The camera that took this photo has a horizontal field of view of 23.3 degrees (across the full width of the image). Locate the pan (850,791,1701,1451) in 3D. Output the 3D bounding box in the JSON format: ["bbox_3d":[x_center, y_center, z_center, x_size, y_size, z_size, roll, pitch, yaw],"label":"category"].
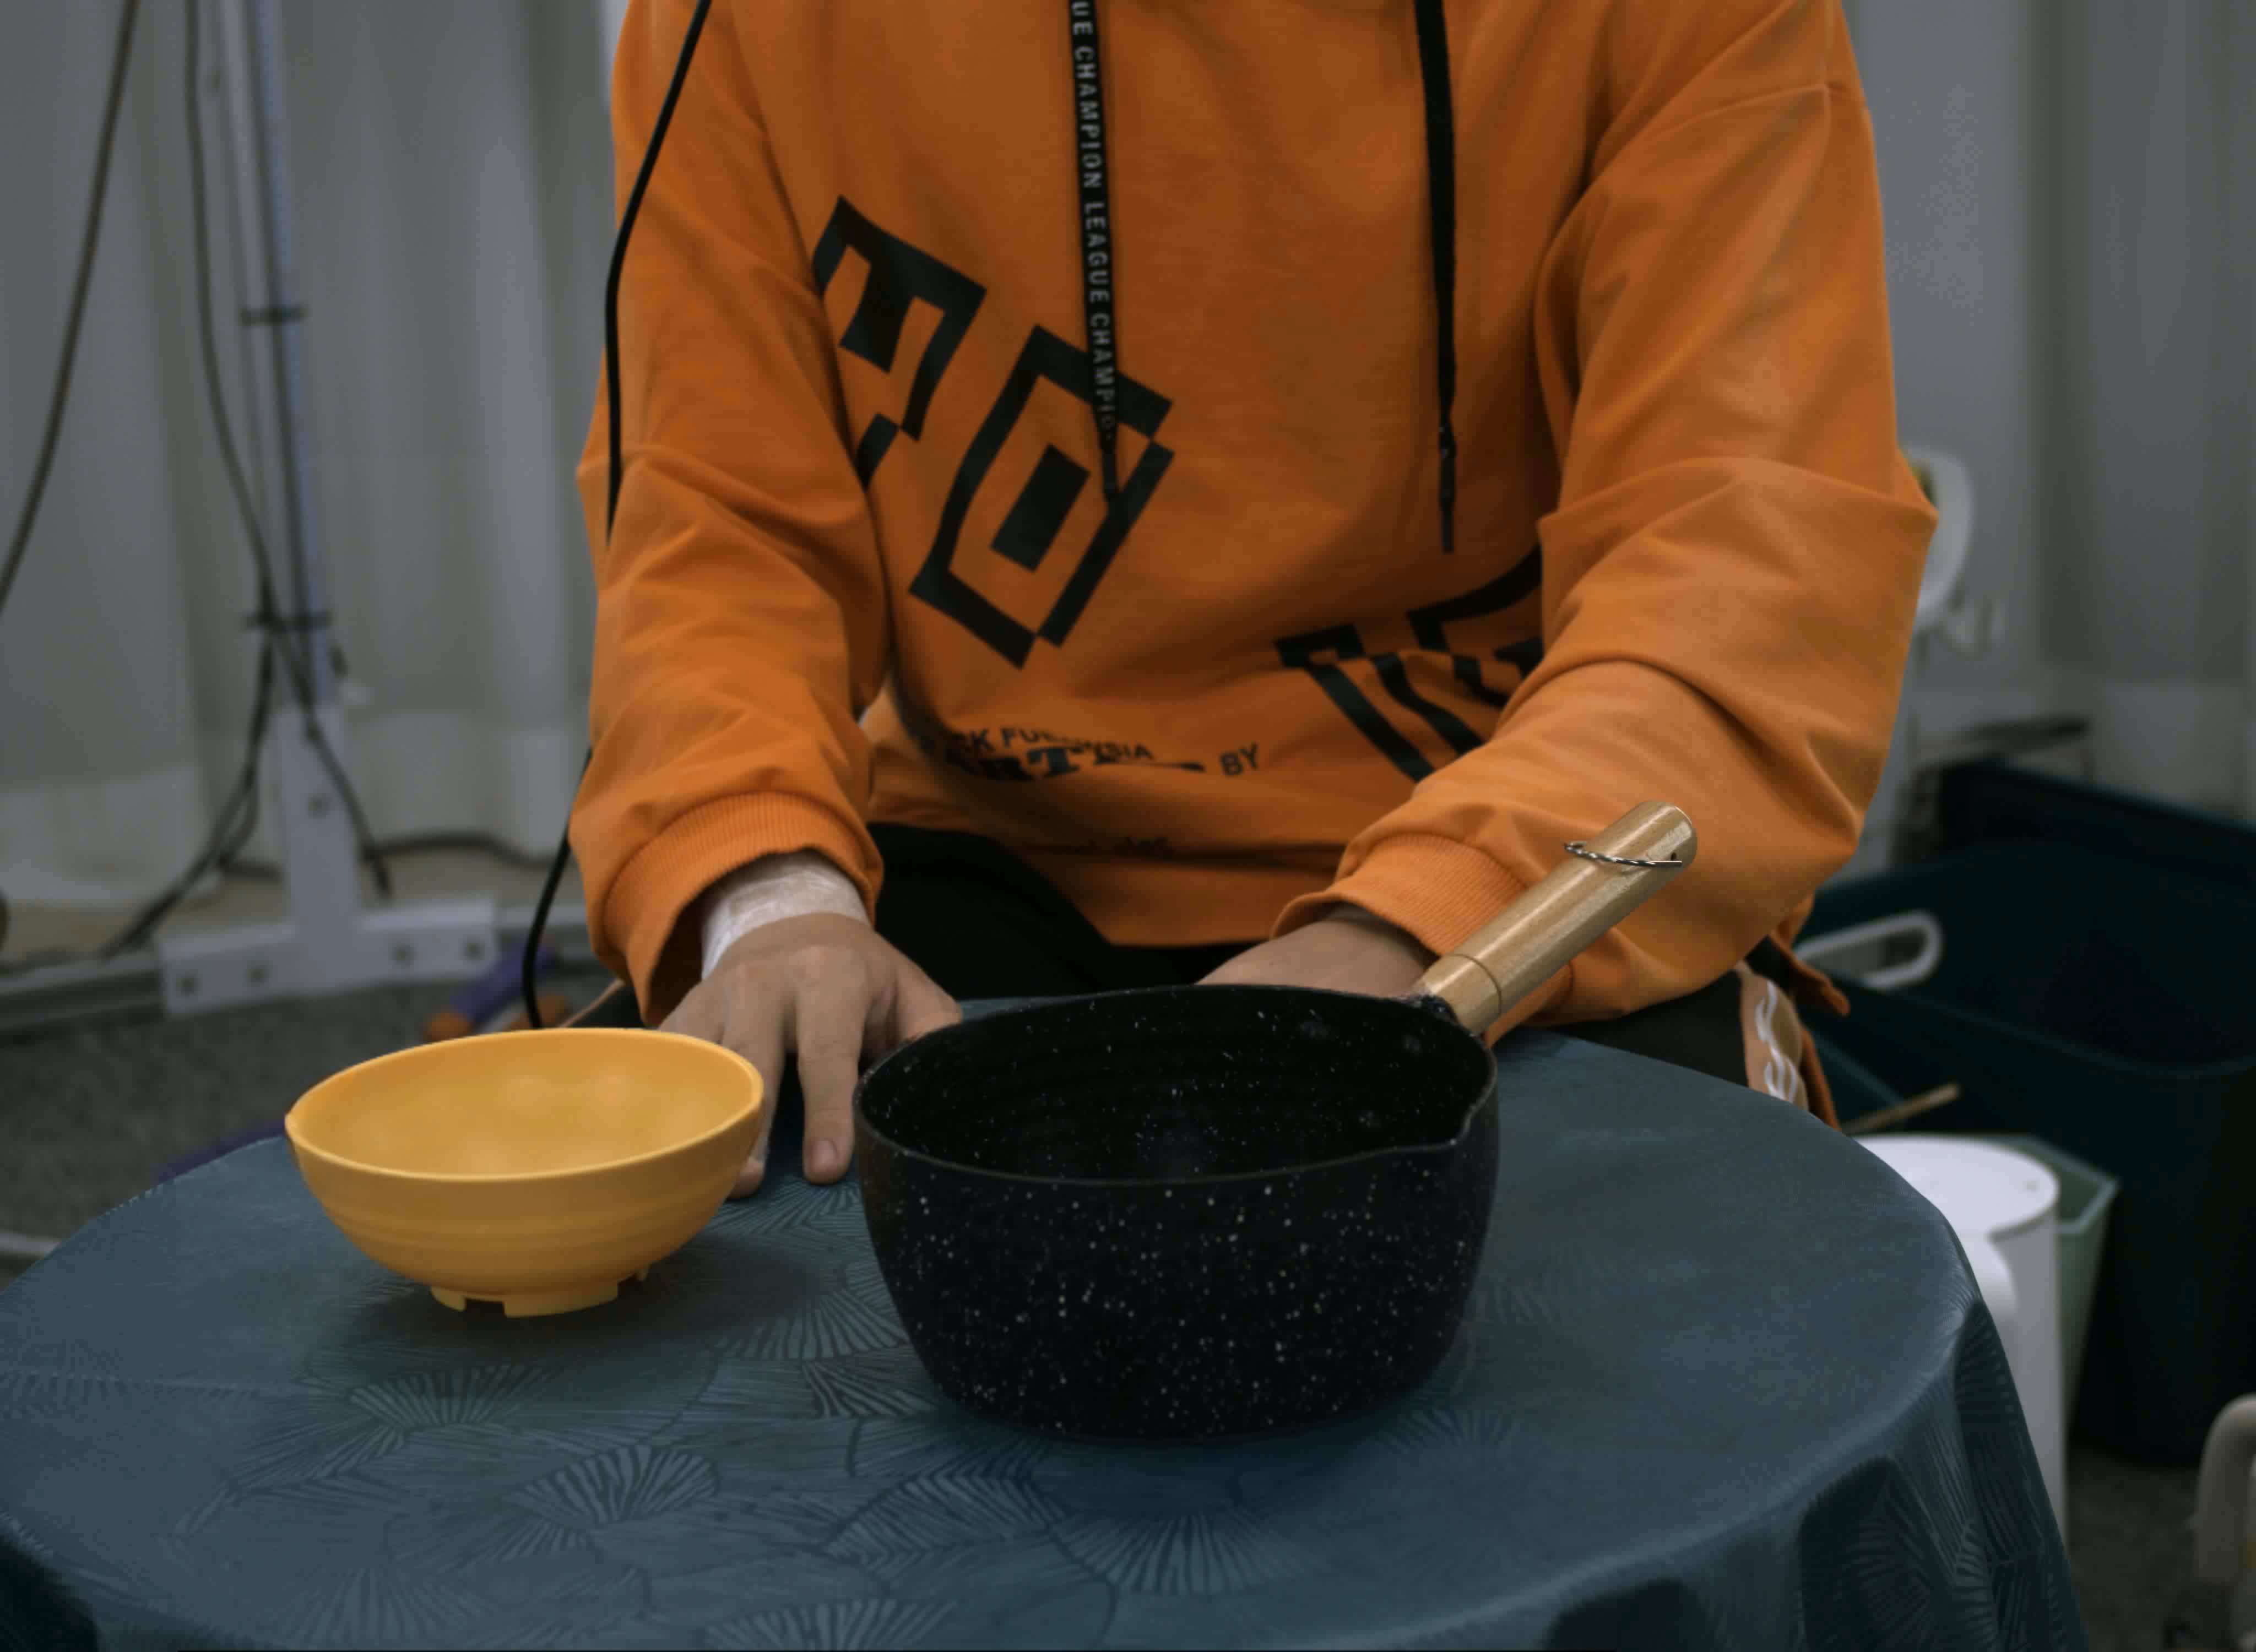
[{"bbox_3d":[0.065,0.082,1.617,0.208,0.108,0.343,7,19,39],"label":"pan"}]

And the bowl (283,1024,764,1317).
[{"bbox_3d":[-0.181,0.110,1.657,0.145,0.060,0.146,-2,15,0],"label":"bowl"}]
